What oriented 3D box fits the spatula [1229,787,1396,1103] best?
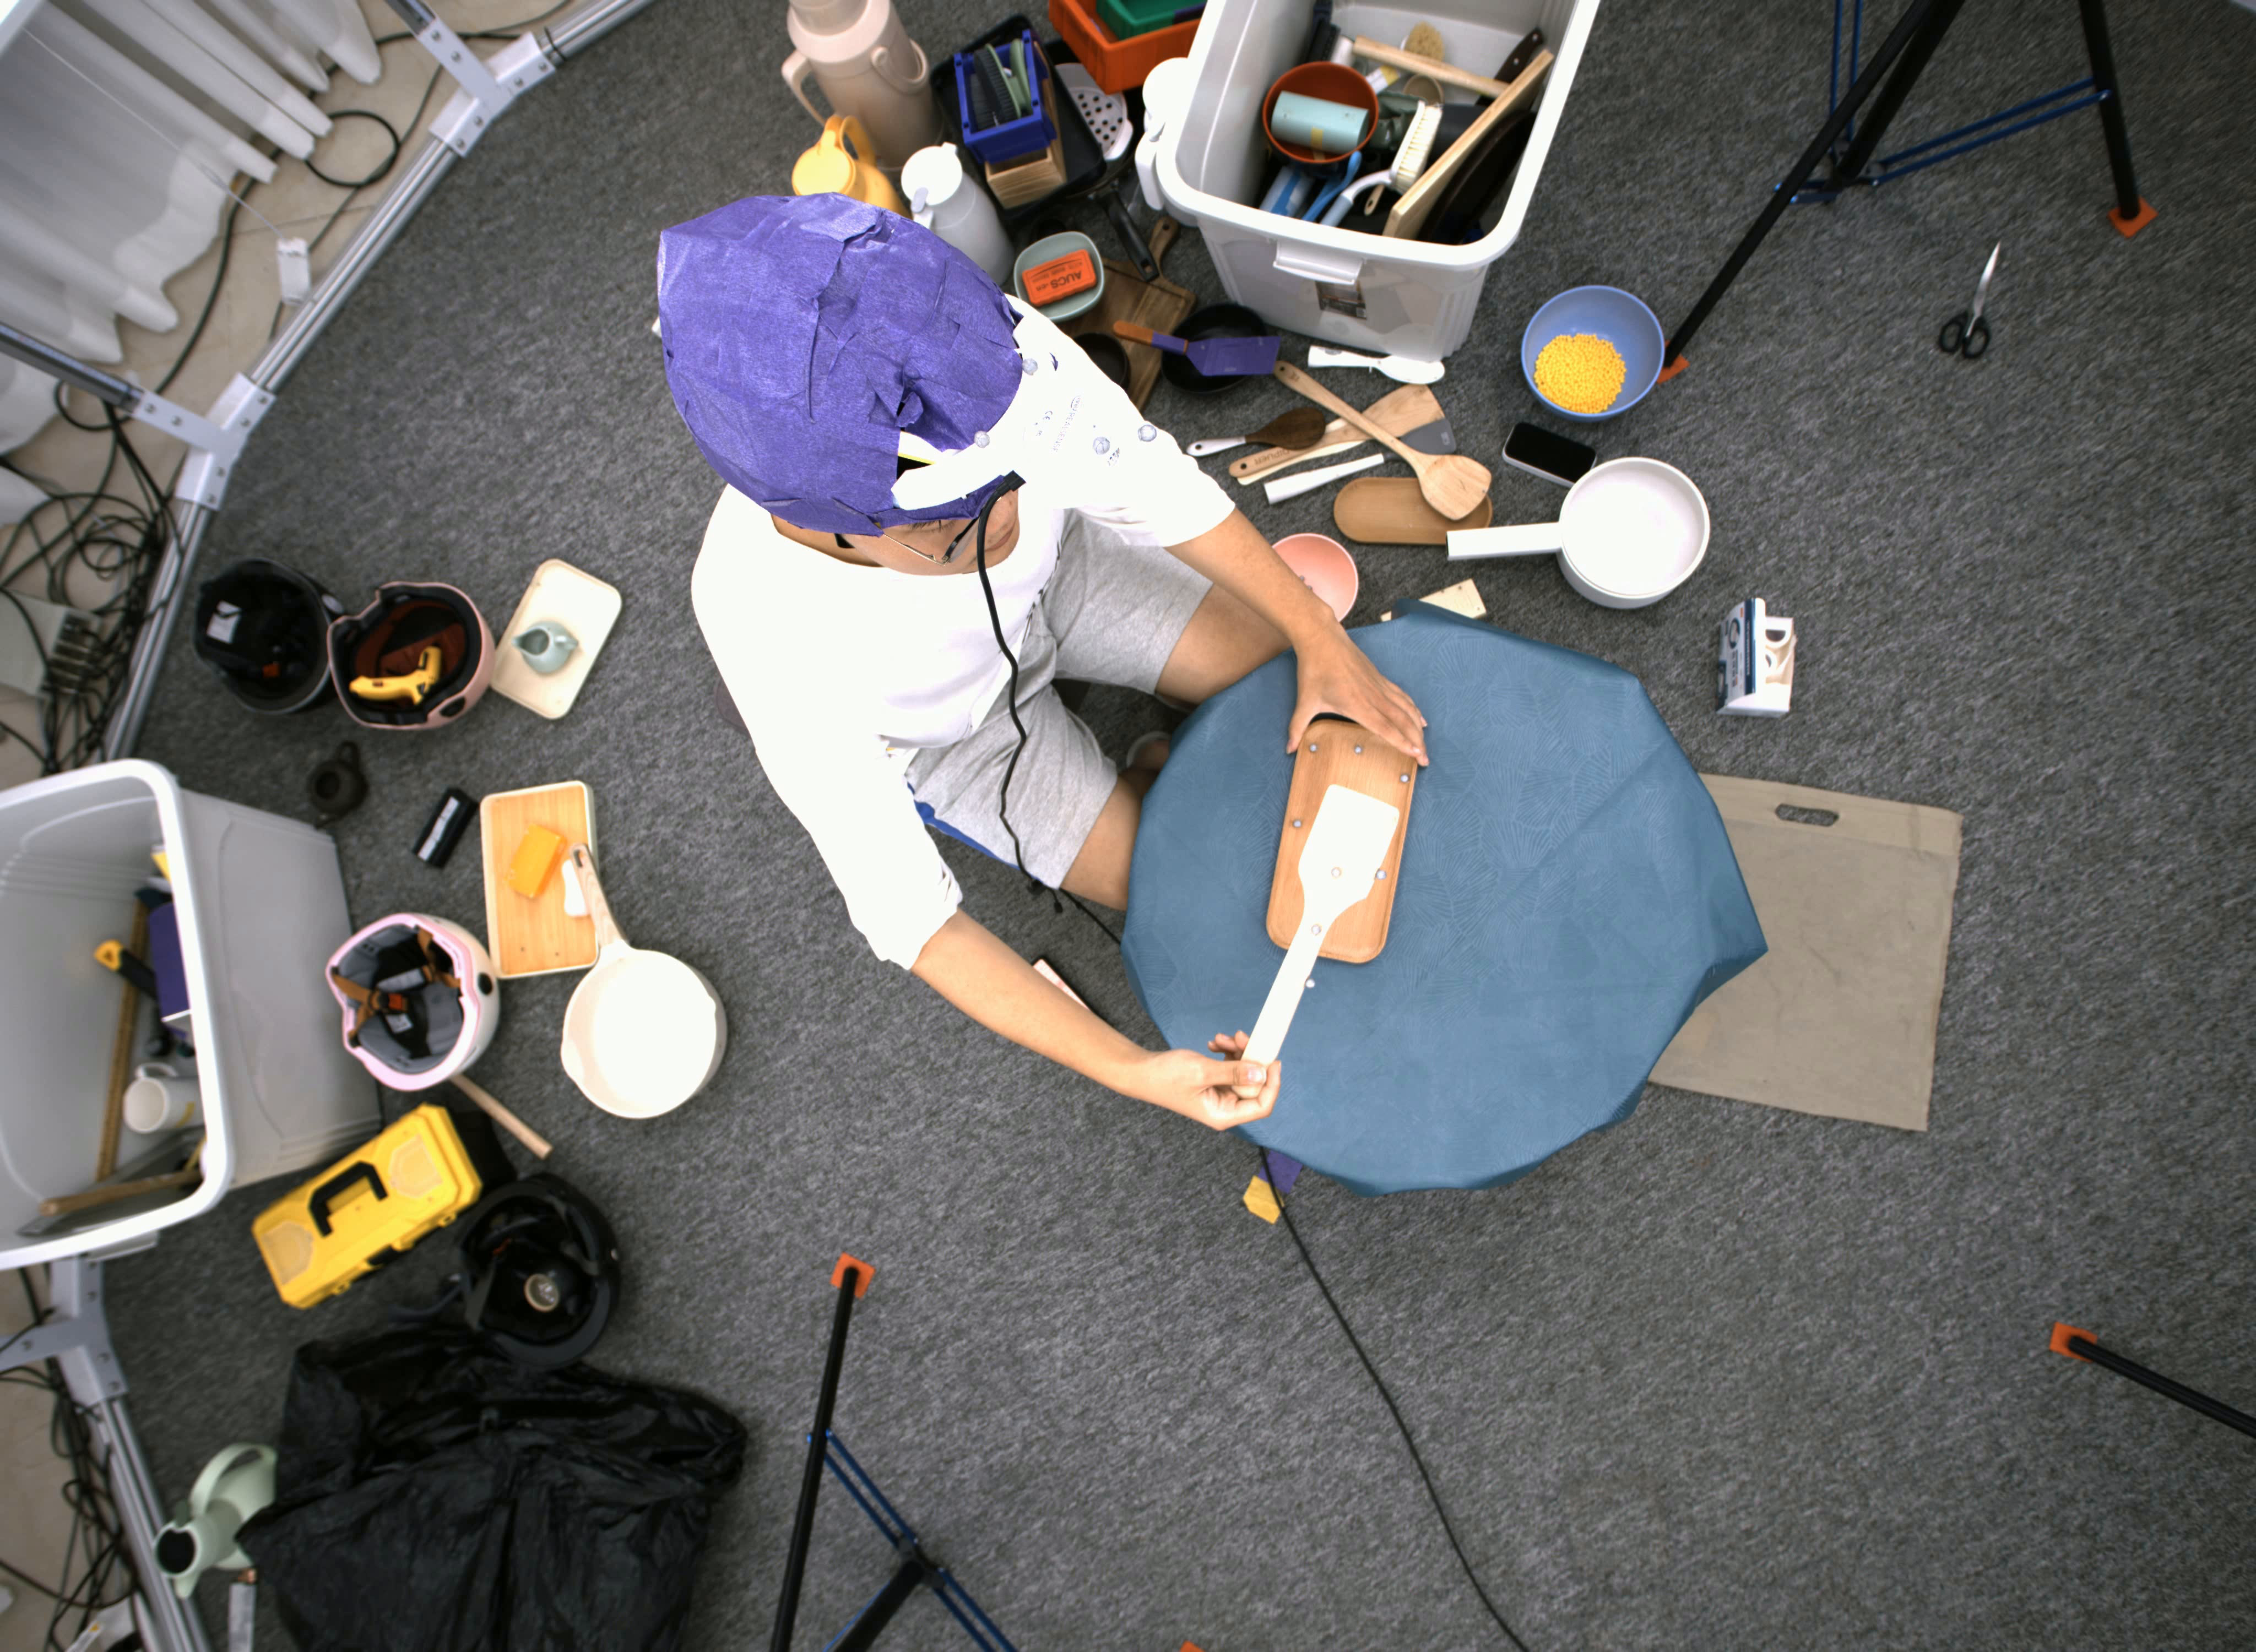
[{"bbox_3d":[0.156,0.110,1.233,0.072,0.010,0.294,23,94,20],"label":"spatula"}]

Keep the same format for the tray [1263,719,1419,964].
[{"bbox_3d":[0.226,0.015,1.464,0.131,0.023,0.250,12,90,14],"label":"tray"}]
